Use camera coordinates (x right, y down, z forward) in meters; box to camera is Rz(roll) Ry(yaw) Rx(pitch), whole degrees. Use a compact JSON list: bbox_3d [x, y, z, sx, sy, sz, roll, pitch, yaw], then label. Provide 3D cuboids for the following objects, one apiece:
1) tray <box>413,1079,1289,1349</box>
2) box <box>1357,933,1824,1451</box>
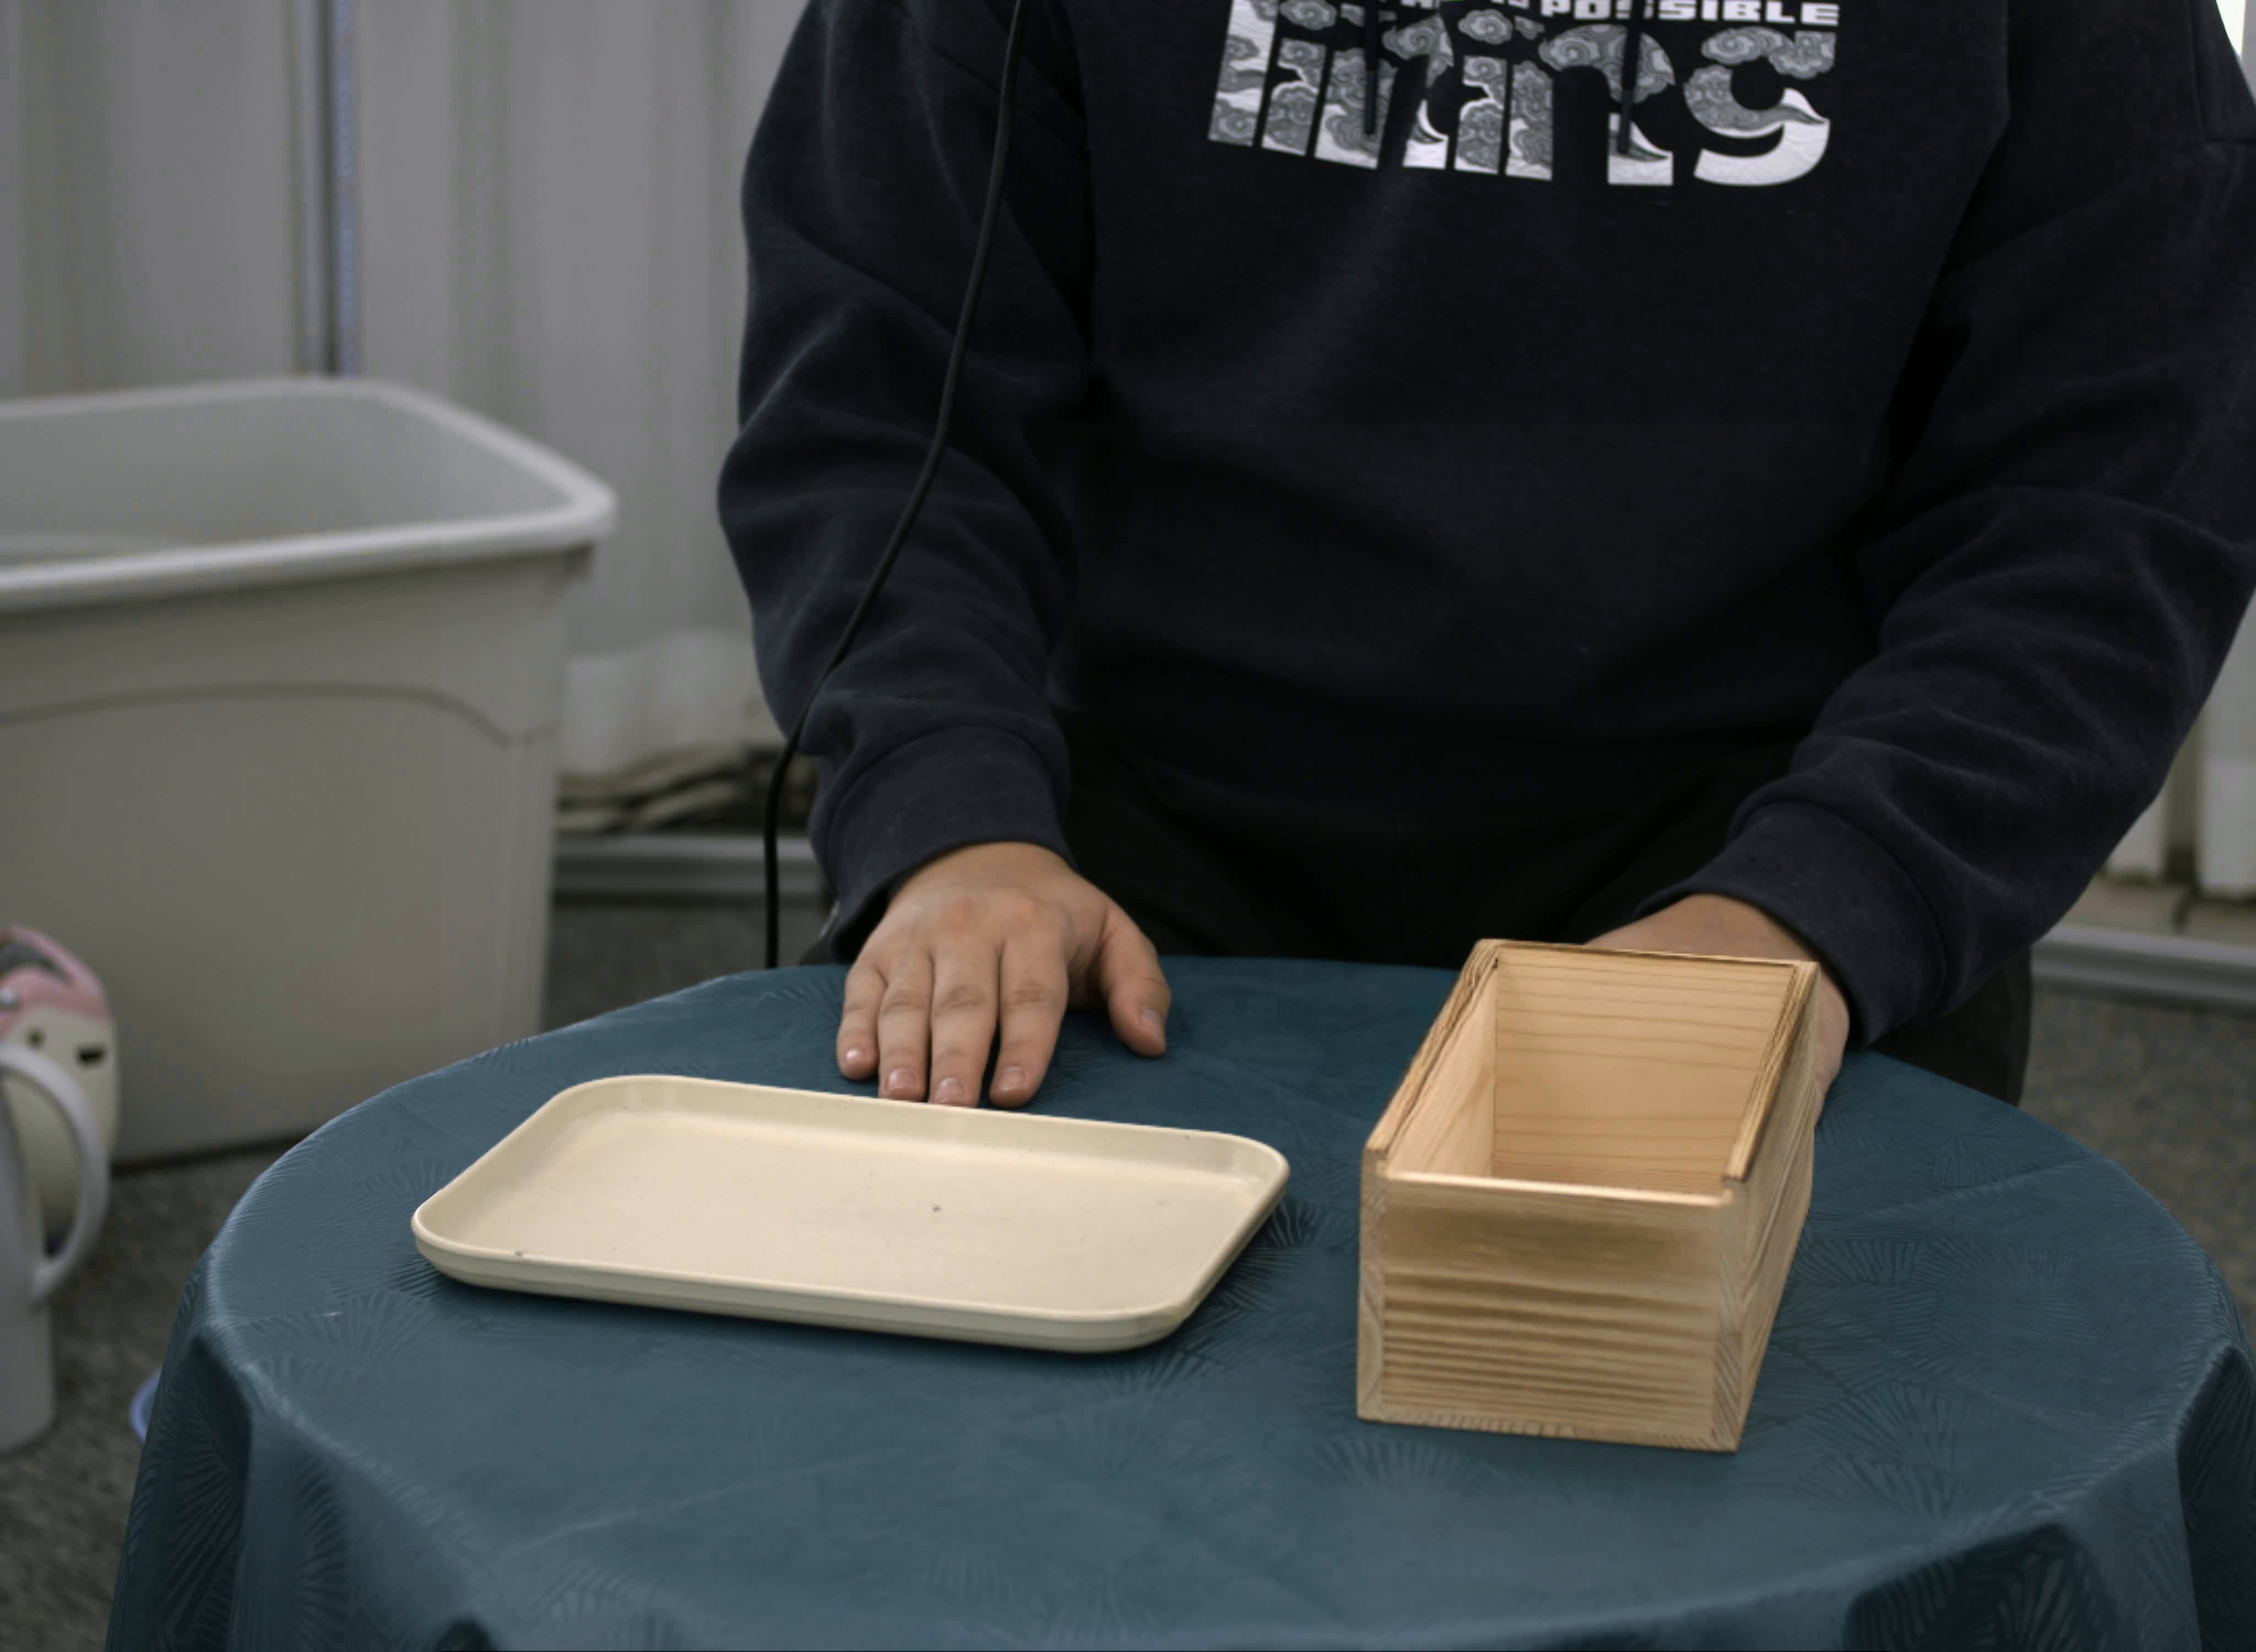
[{"bbox_3d":[-0.081,0.116,1.577,0.238,0.017,0.171,5,15,14],"label":"tray"},{"bbox_3d":[0.137,0.101,1.523,0.107,0.081,0.211,4,16,11],"label":"box"}]
